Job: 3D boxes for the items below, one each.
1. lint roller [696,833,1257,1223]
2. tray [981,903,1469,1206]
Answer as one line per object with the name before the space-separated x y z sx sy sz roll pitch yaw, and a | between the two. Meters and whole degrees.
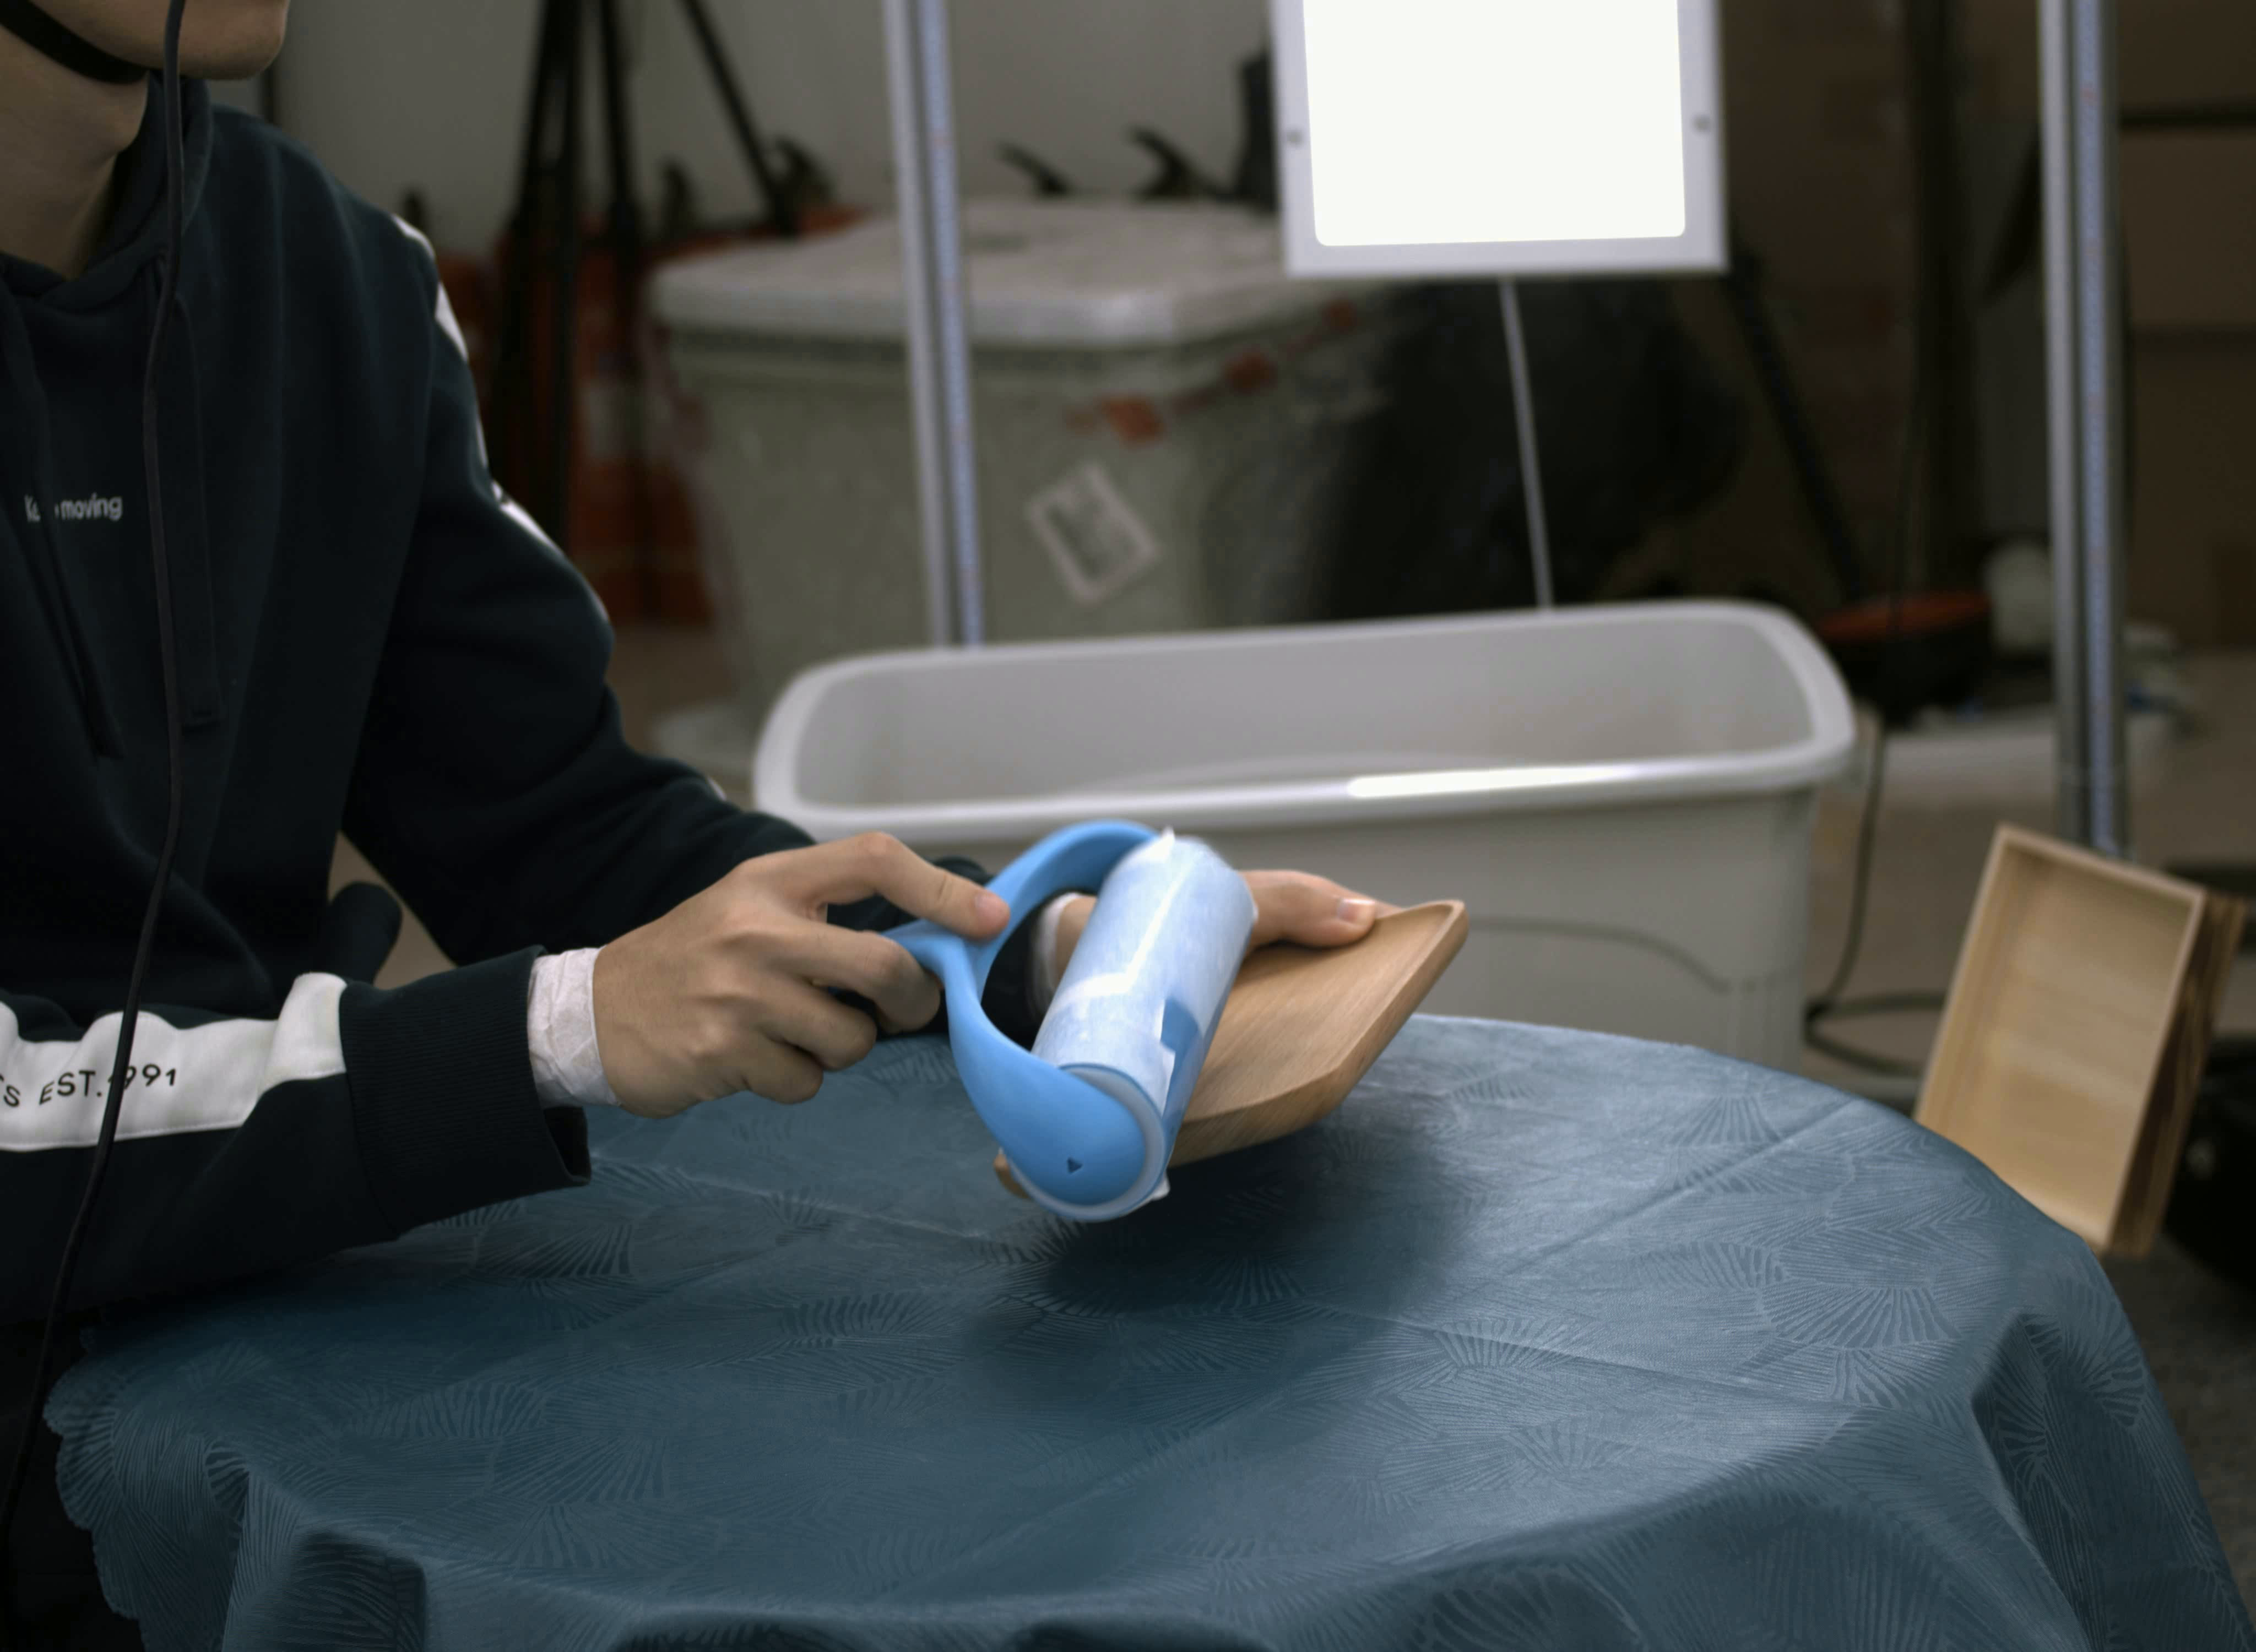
lint roller | -0.056 0.064 1.804 0.181 0.068 0.227 0 22 8
tray | 0.038 0.077 1.897 0.132 0.023 0.247 -19 9 21
